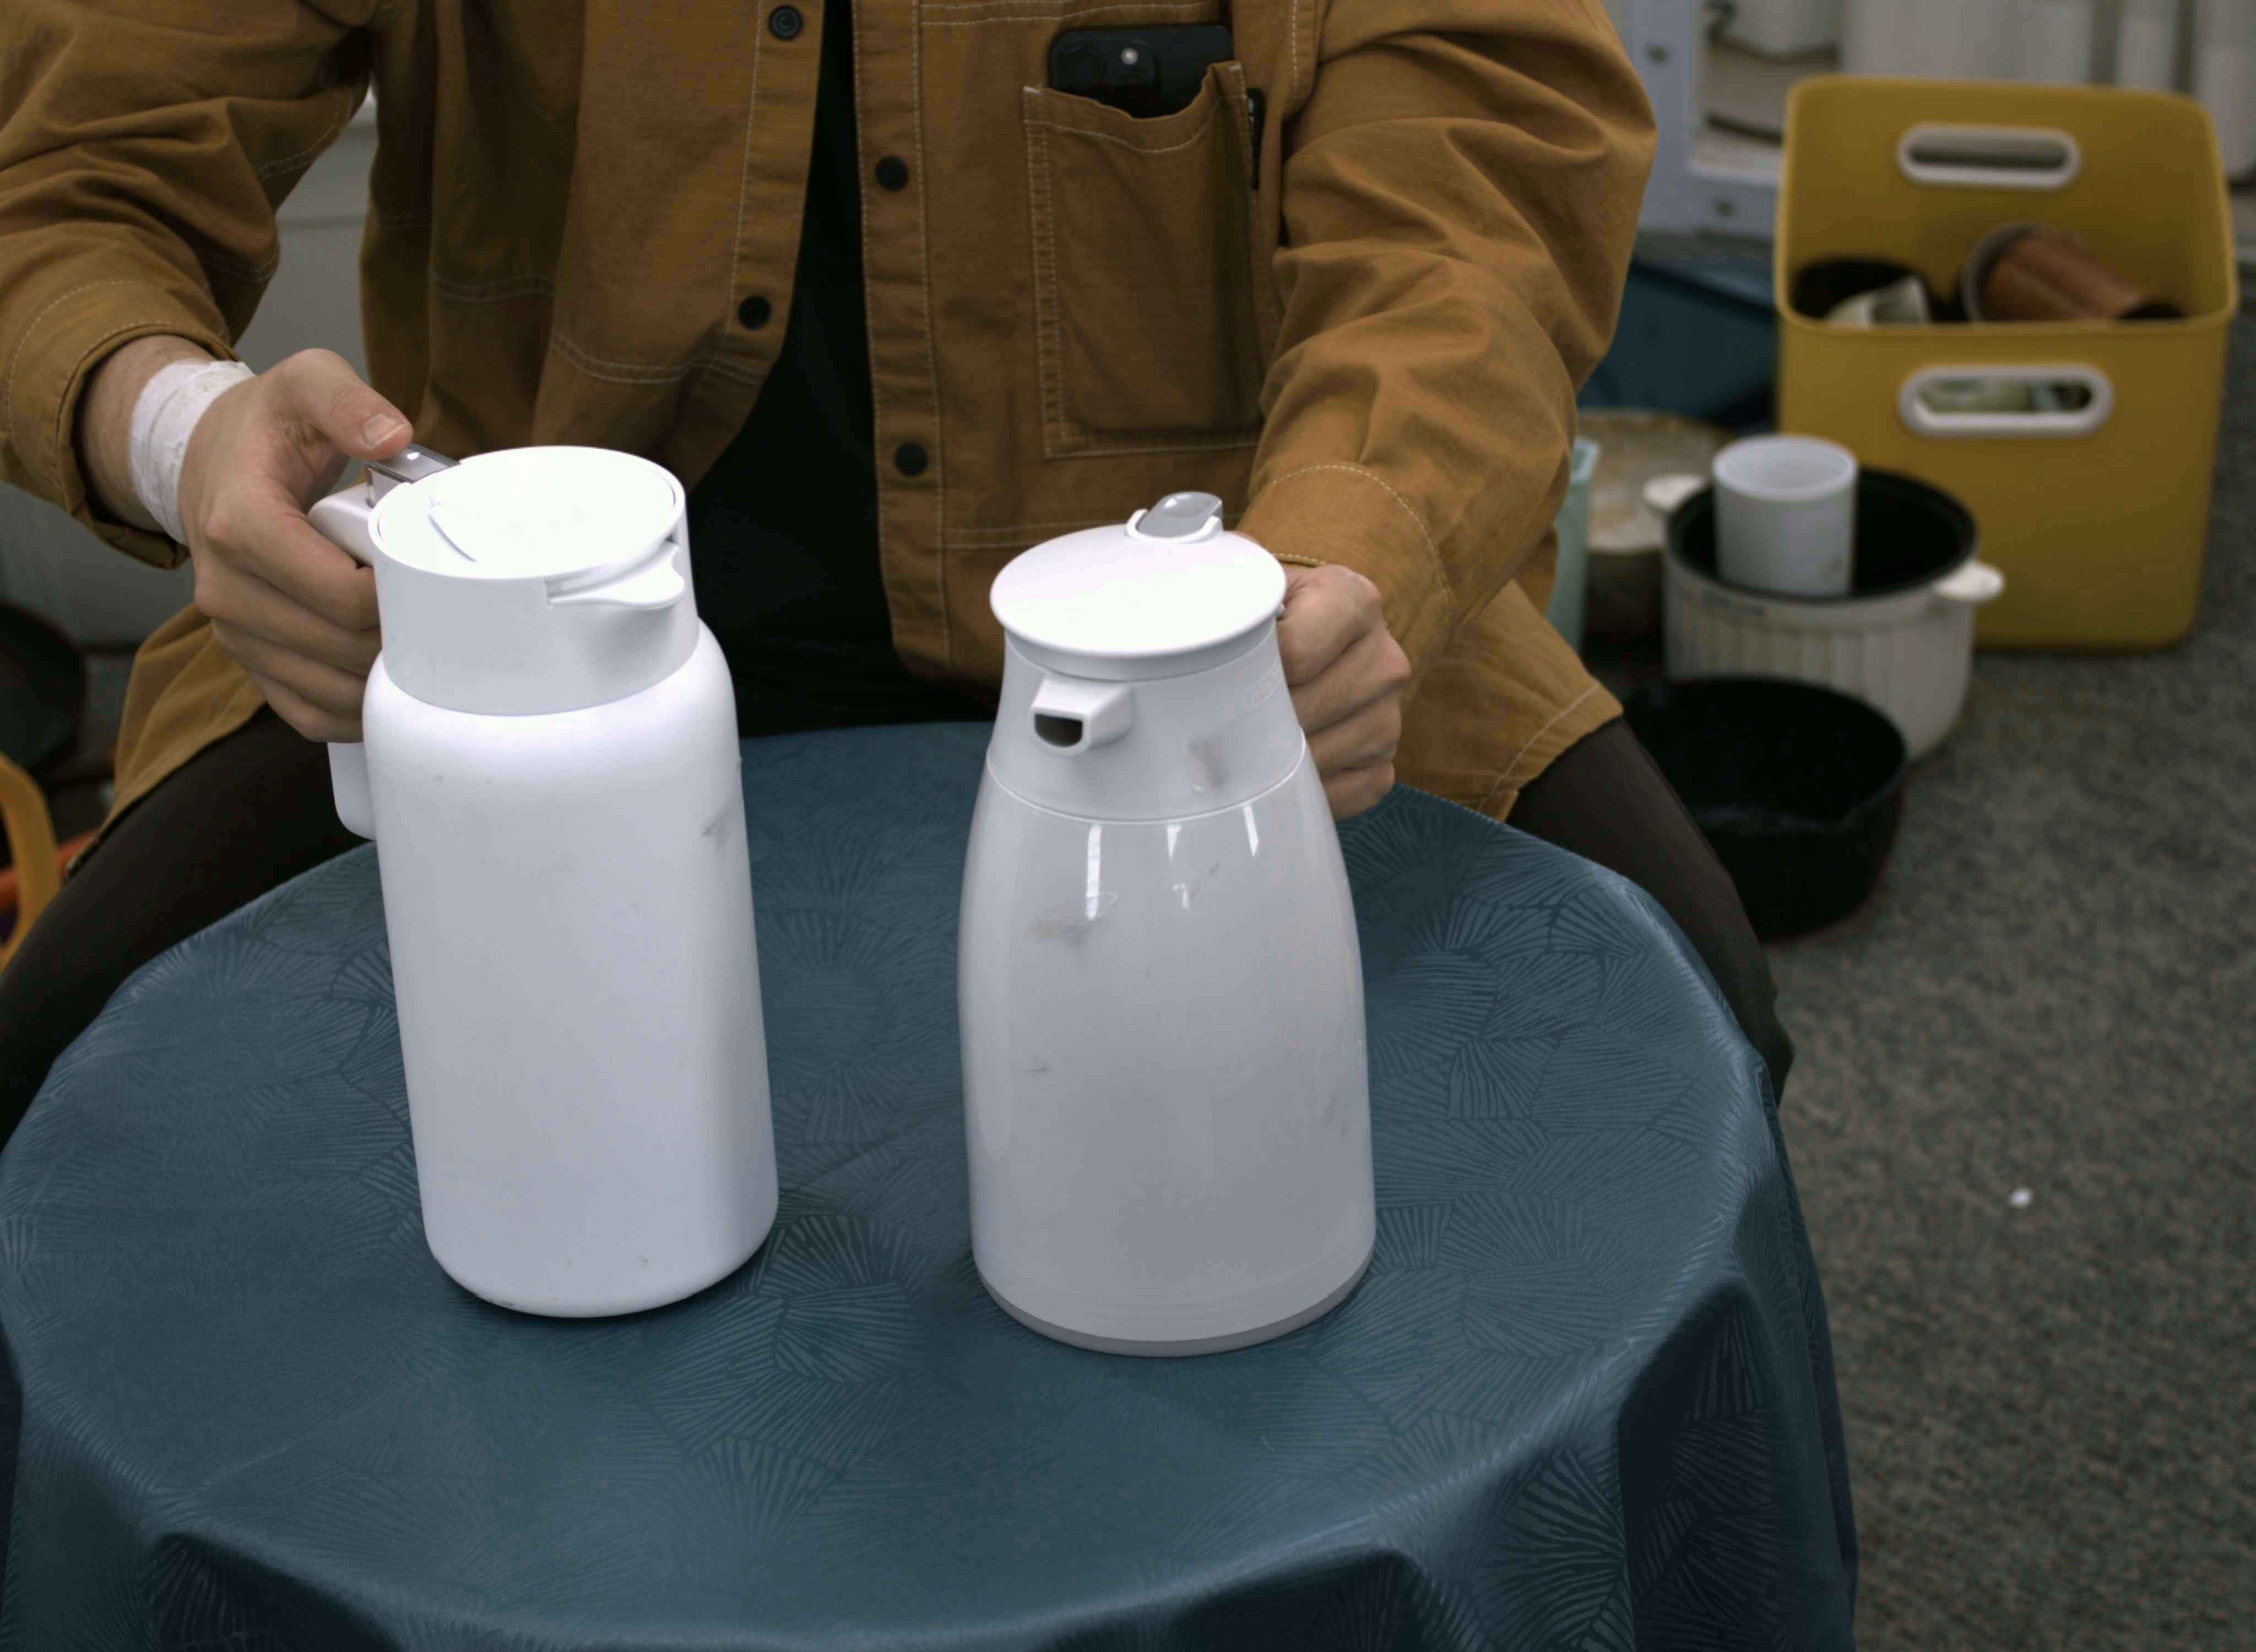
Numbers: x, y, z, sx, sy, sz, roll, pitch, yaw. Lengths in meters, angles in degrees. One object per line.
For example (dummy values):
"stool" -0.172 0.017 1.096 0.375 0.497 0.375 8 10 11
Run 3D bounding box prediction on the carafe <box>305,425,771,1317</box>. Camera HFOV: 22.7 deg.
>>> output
"carafe" -0.193 0.012 1.802 0.172 0.266 0.125 21 37 40

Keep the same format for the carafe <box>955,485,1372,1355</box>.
"carafe" 0.015 0.019 1.790 0.131 0.246 0.170 8 27 21
